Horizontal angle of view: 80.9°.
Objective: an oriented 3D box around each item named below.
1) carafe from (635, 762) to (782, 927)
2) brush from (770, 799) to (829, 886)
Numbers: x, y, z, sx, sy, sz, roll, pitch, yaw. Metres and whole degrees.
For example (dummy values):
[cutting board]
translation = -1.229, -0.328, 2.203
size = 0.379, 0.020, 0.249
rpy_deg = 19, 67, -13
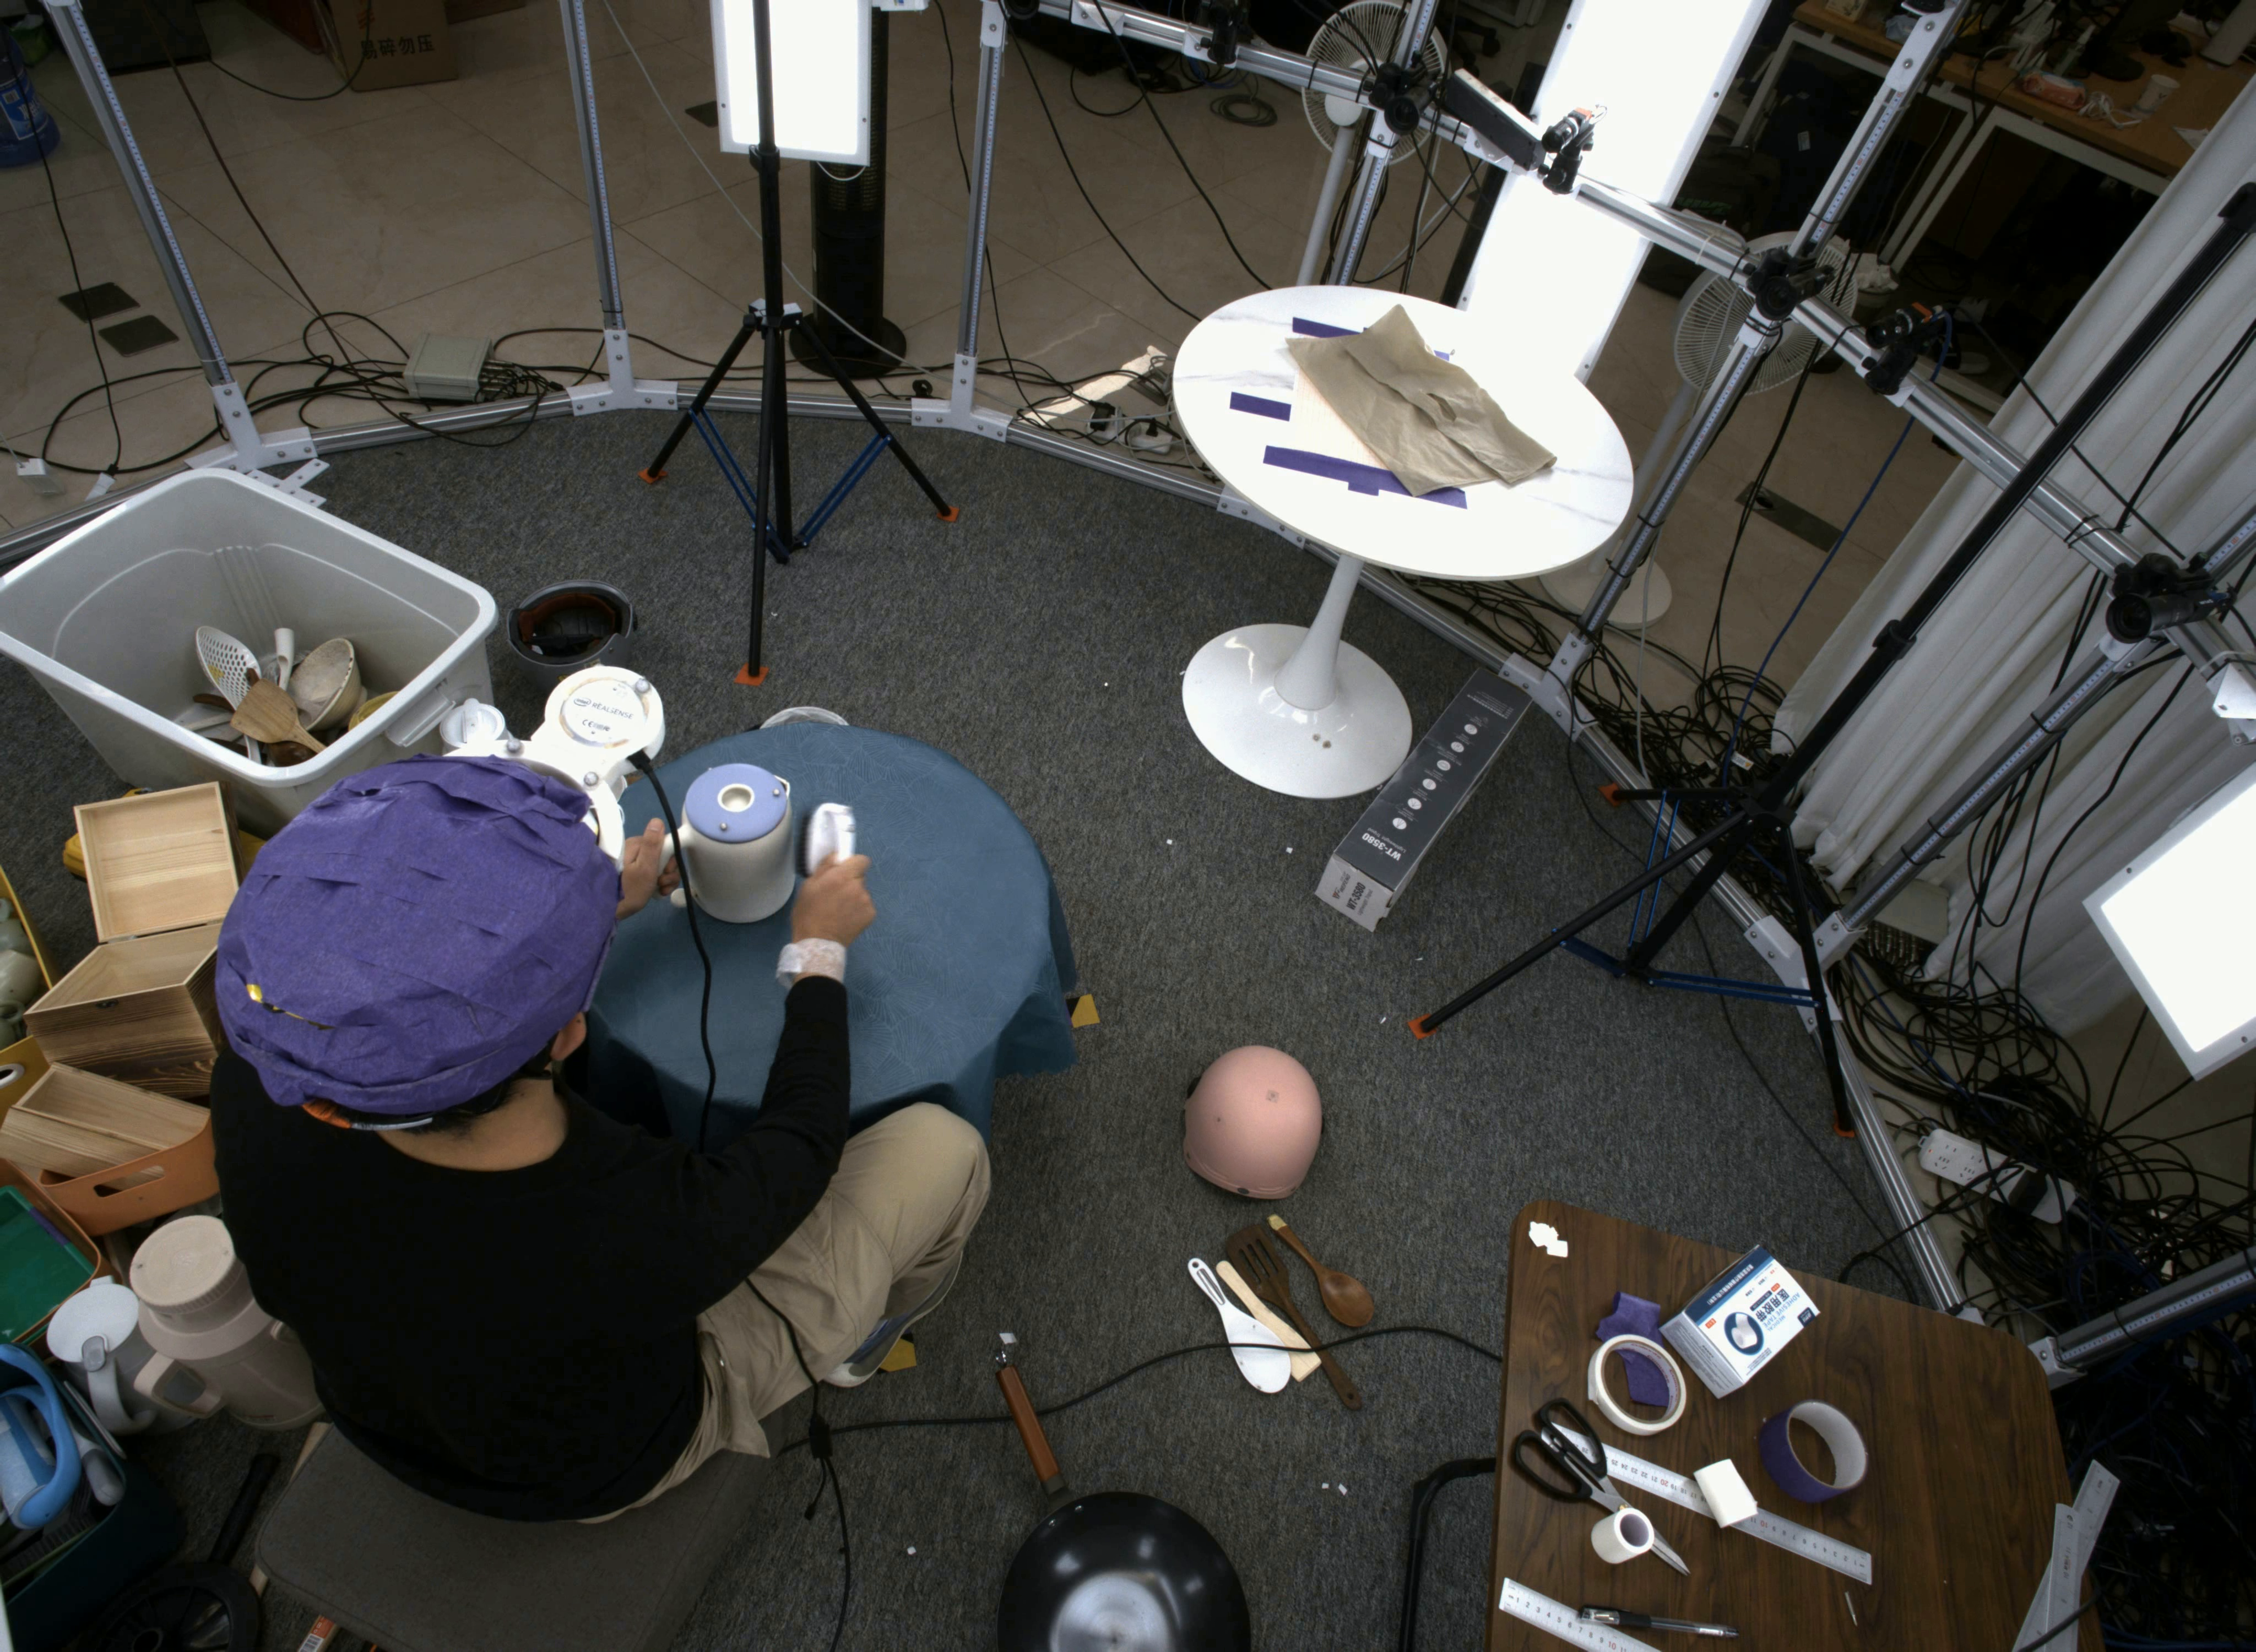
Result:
[carafe]
translation = -0.510, 0.032, 1.561
size = 0.192, 0.186, 0.129
rpy_deg = -30, 64, -29
[brush]
translation = -0.377, 0.020, 1.512
size = 0.070, 0.101, 0.051
rpy_deg = 9, 6, 39
